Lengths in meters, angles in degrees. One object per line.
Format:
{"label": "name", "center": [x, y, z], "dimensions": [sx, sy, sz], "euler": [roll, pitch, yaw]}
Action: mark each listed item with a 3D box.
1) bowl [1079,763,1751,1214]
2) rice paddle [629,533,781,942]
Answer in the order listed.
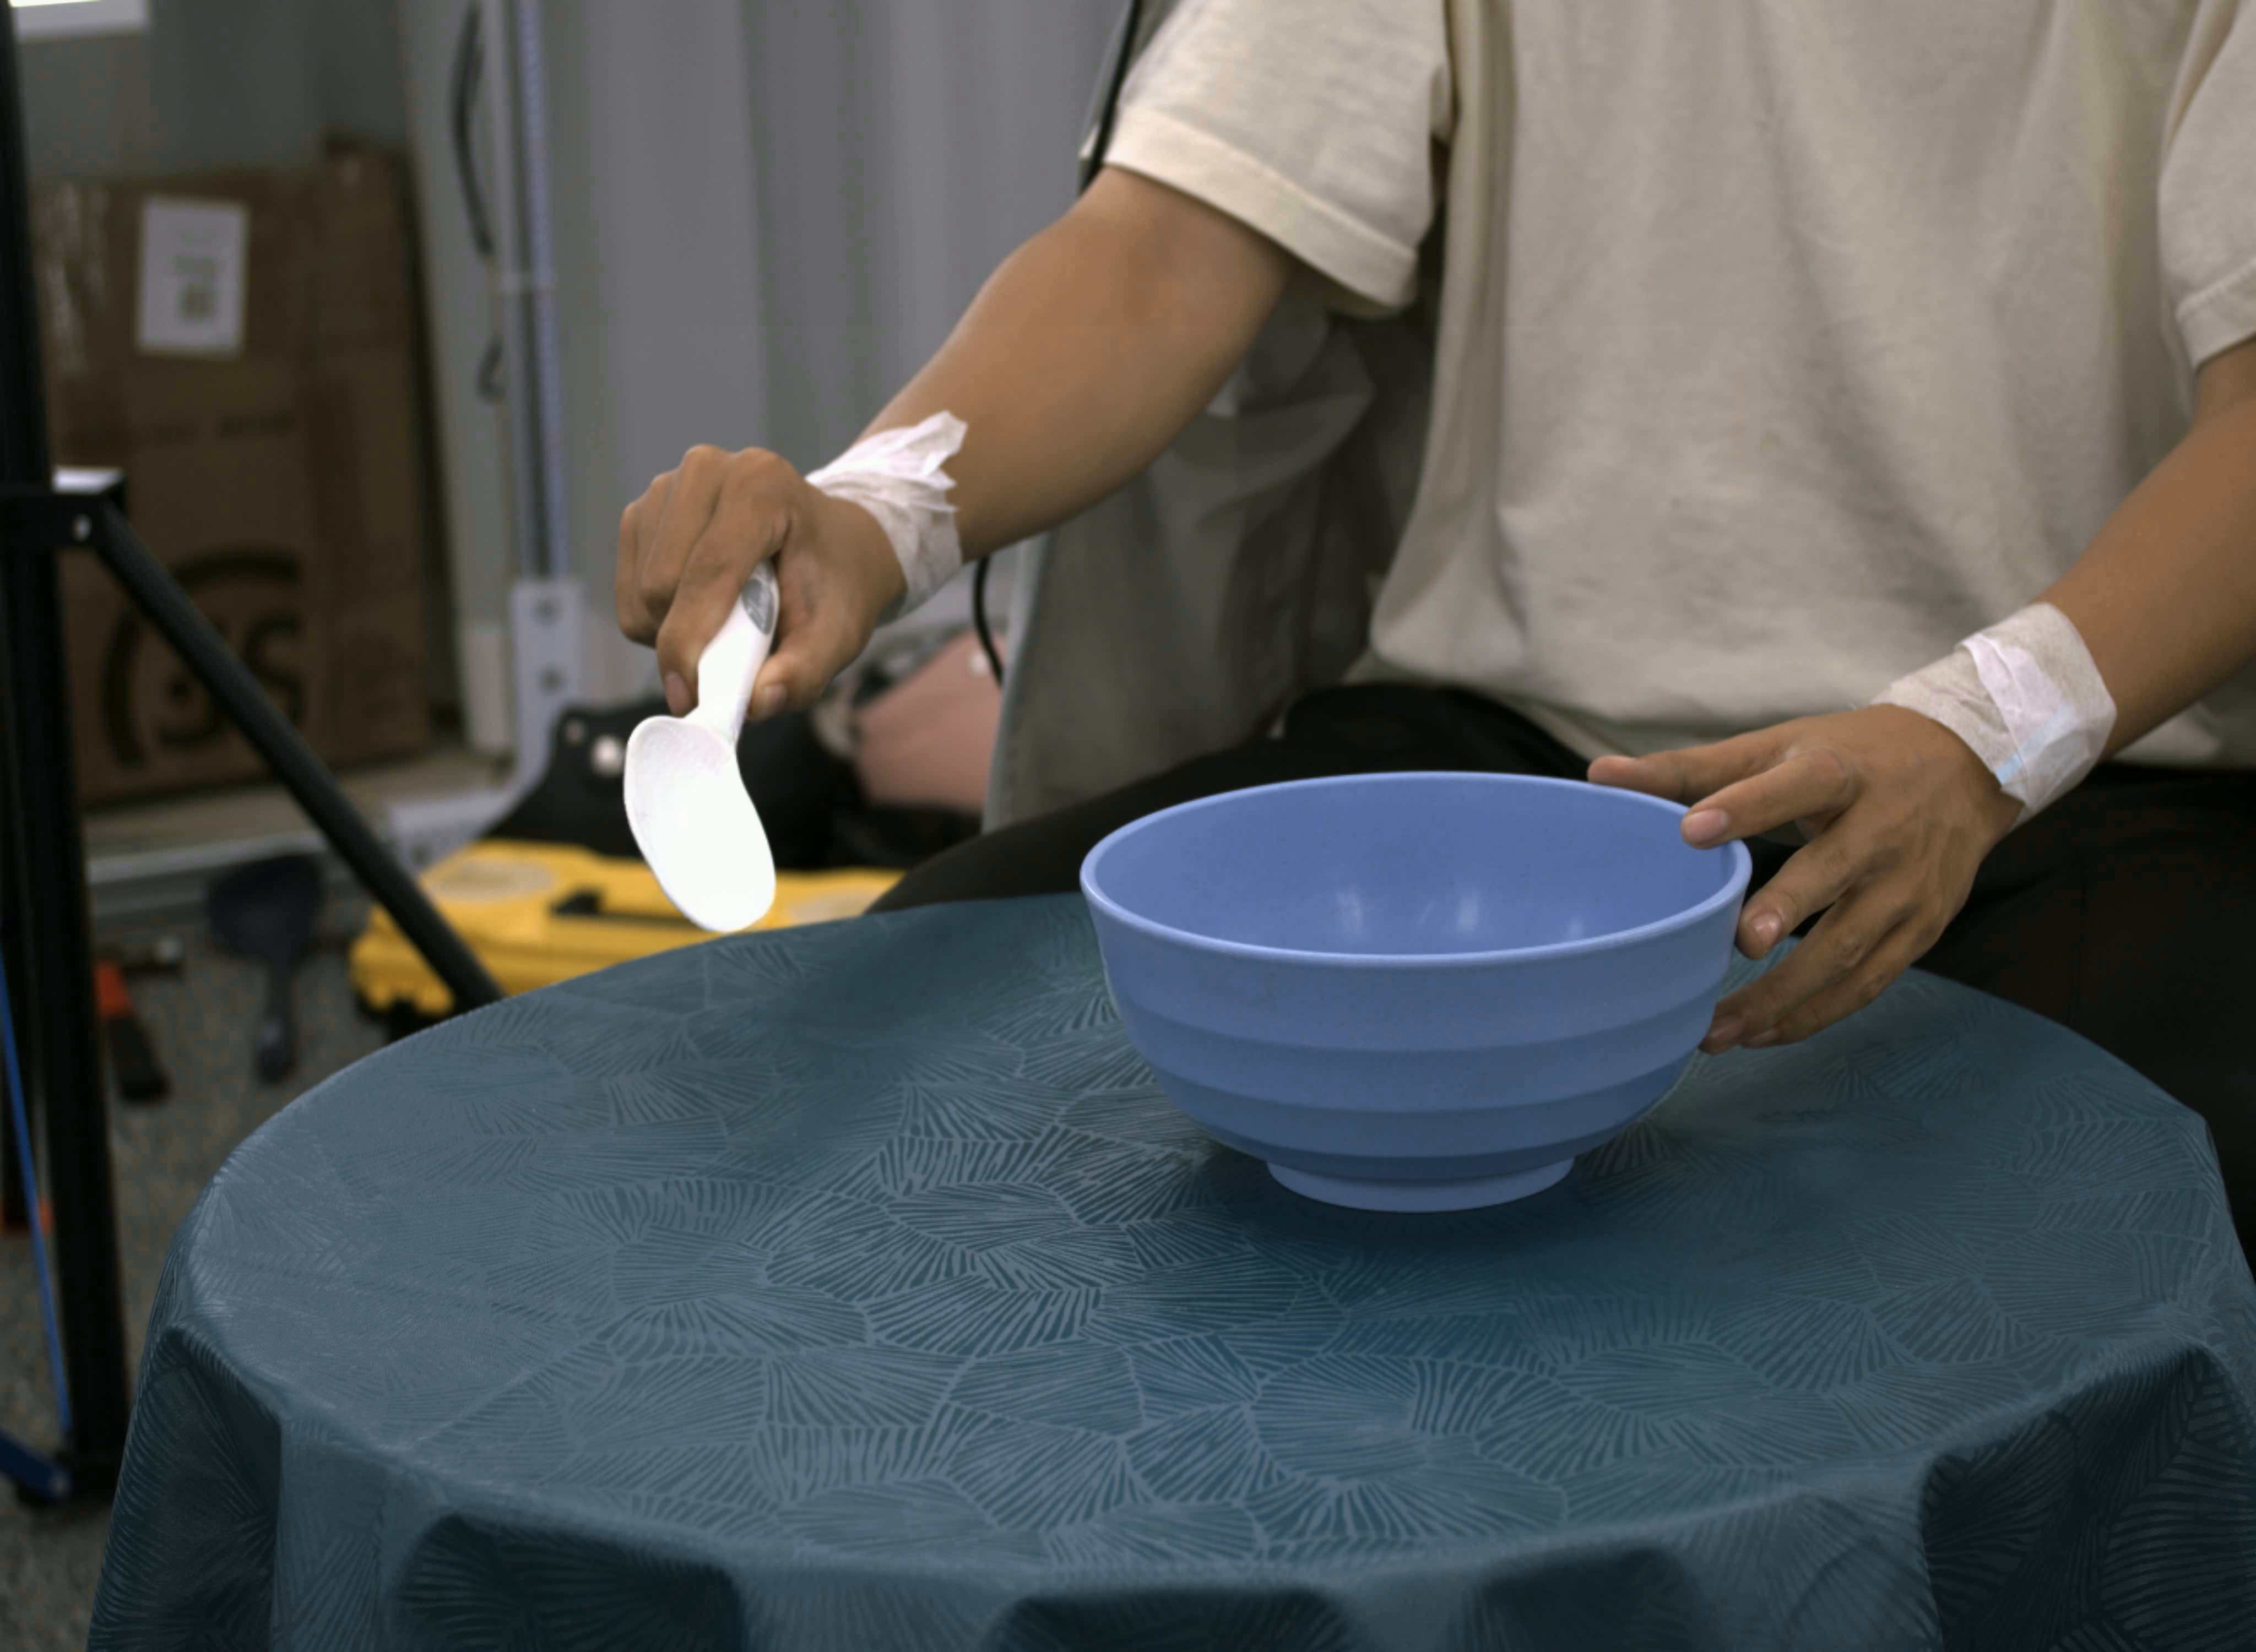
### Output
{"label": "bowl", "center": [0.086, 0.054, 1.558], "dimensions": [0.195, 0.095, 0.197], "euler": [-4, 17, 0]}
{"label": "rice paddle", "center": [-0.128, -0.029, 1.668], "dimensions": [0.029, 0.068, 0.207], "euler": [-35, 25, 19]}
